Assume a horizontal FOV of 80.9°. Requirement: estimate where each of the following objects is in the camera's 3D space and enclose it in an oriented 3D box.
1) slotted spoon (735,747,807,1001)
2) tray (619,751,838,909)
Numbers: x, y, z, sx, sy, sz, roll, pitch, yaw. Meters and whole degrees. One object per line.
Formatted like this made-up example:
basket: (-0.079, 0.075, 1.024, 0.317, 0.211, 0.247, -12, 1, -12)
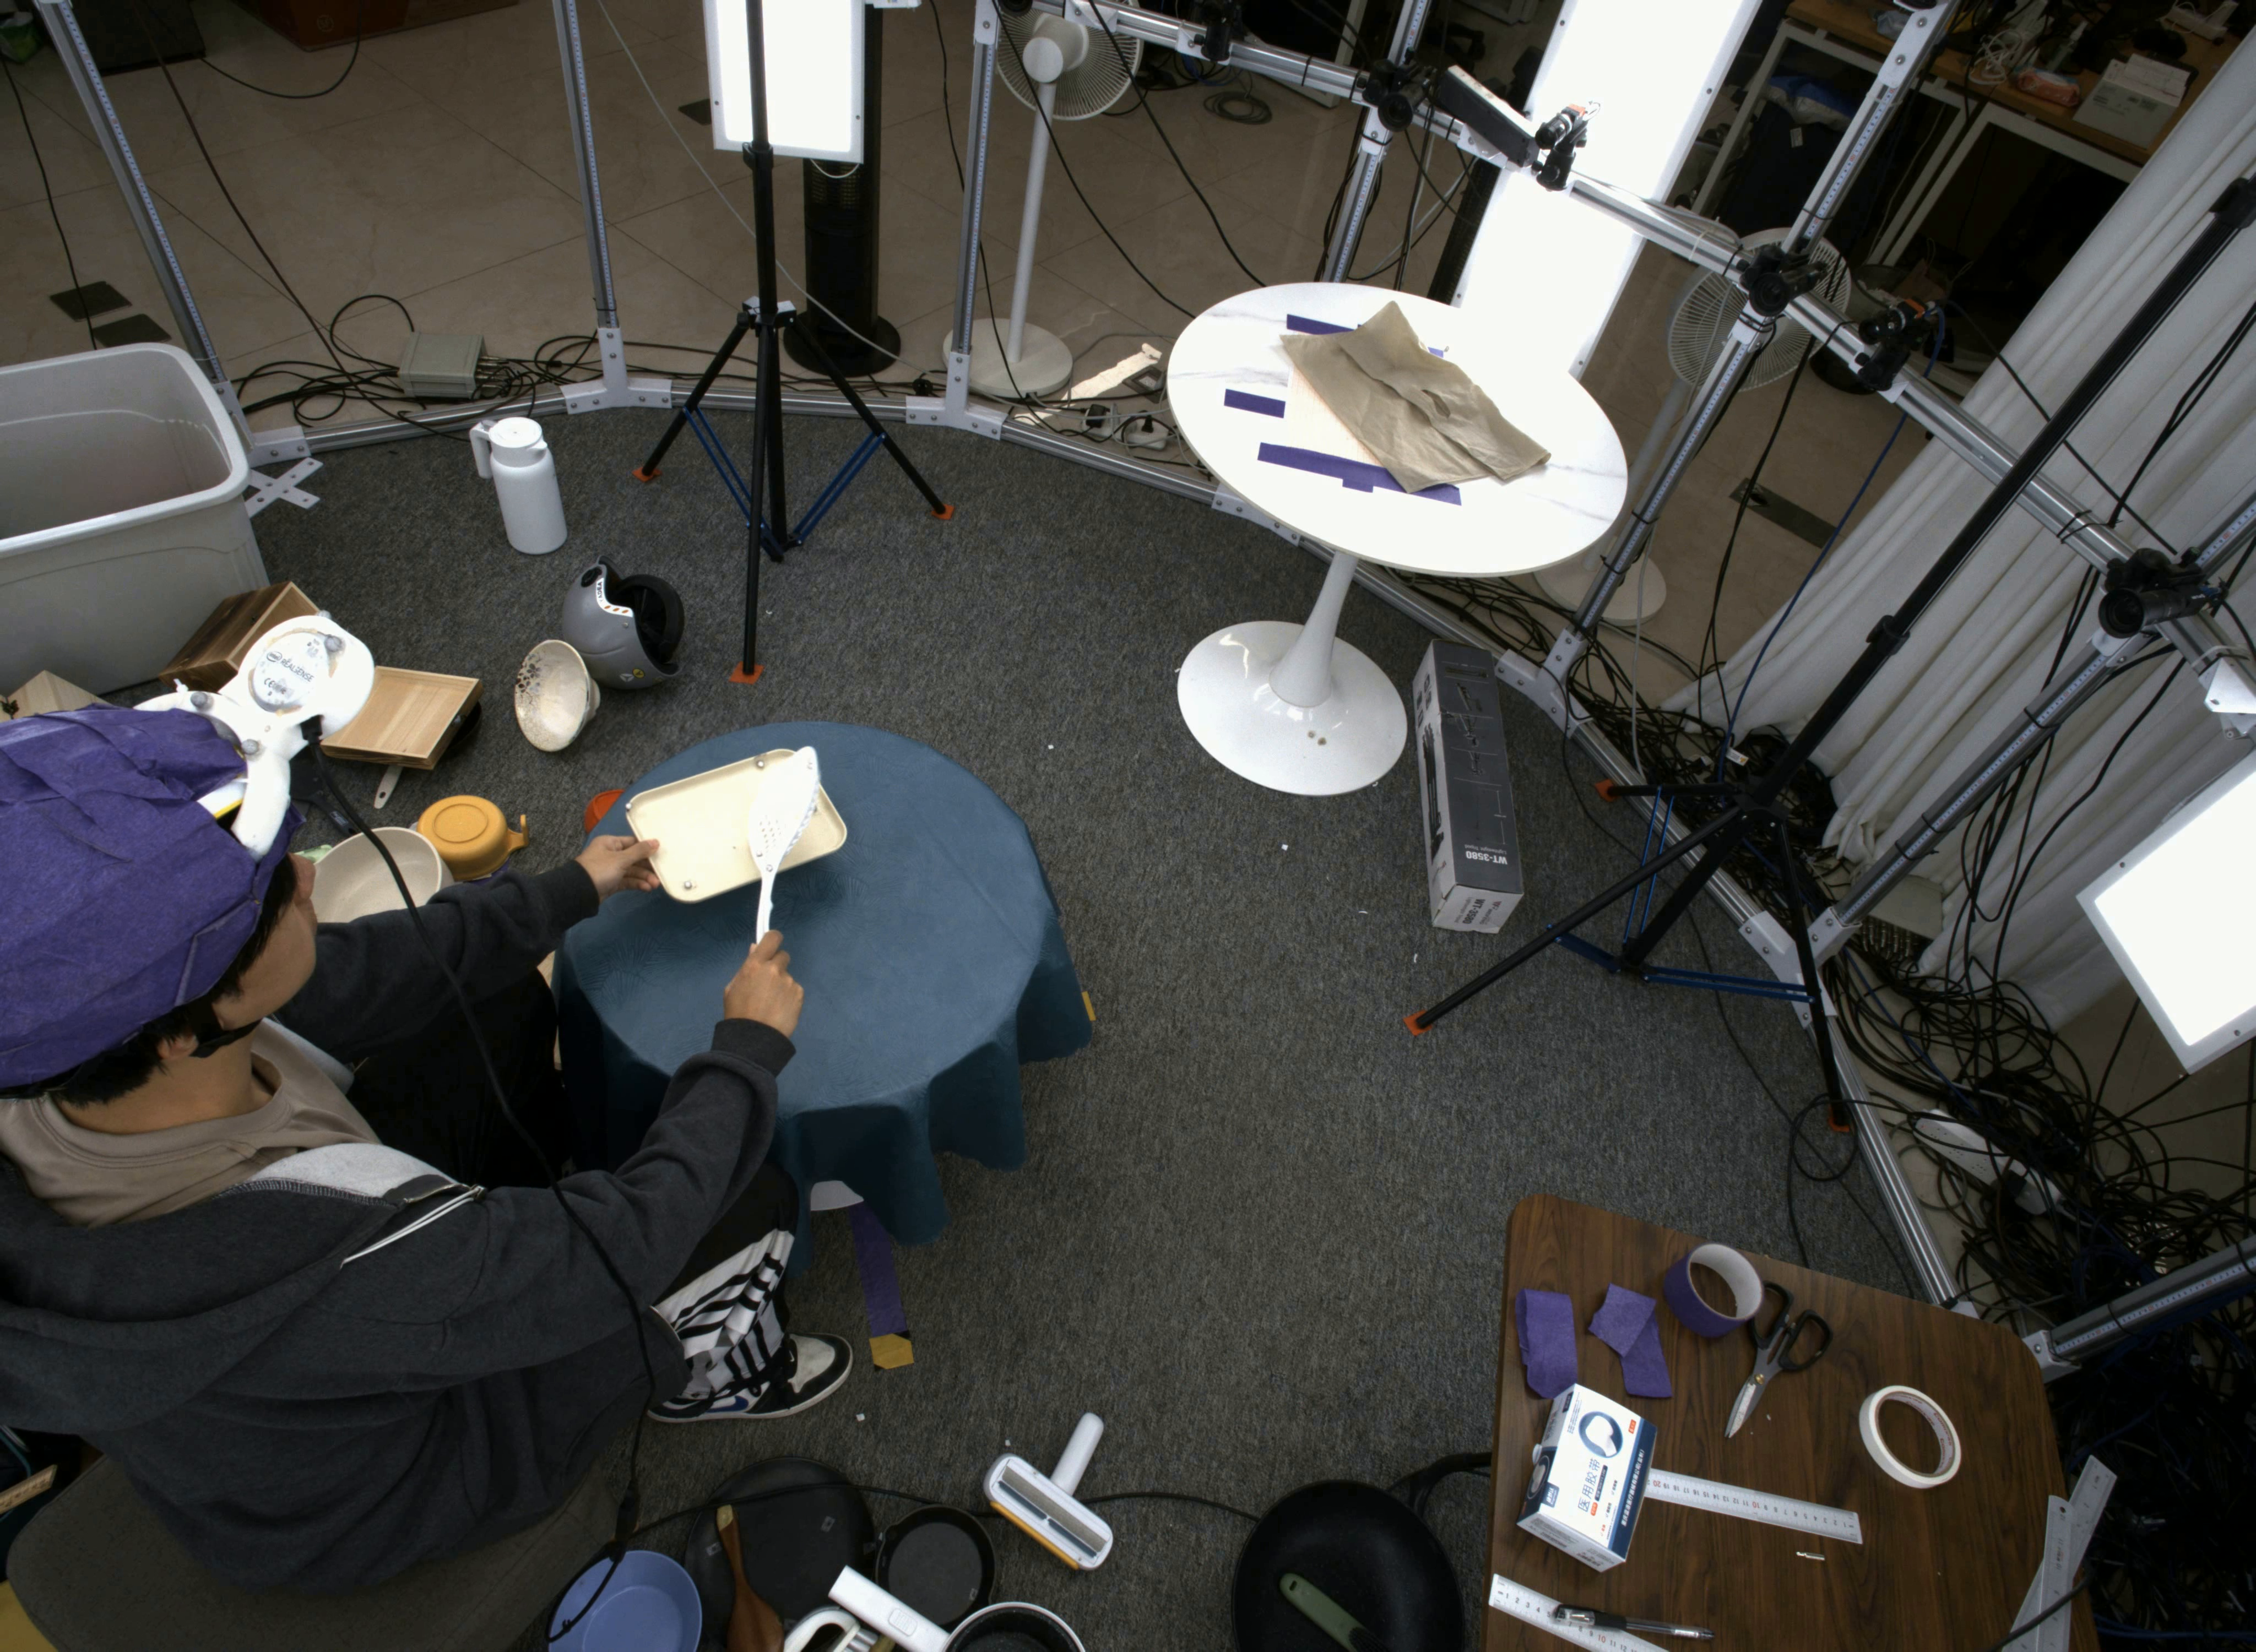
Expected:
slotted spoon: (-0.413, 0.053, 1.486, 0.052, 0.135, 0.340, 35, 34, -32)
tray: (-0.496, 0.001, 1.604, 0.241, 0.017, 0.168, -23, 69, -32)
